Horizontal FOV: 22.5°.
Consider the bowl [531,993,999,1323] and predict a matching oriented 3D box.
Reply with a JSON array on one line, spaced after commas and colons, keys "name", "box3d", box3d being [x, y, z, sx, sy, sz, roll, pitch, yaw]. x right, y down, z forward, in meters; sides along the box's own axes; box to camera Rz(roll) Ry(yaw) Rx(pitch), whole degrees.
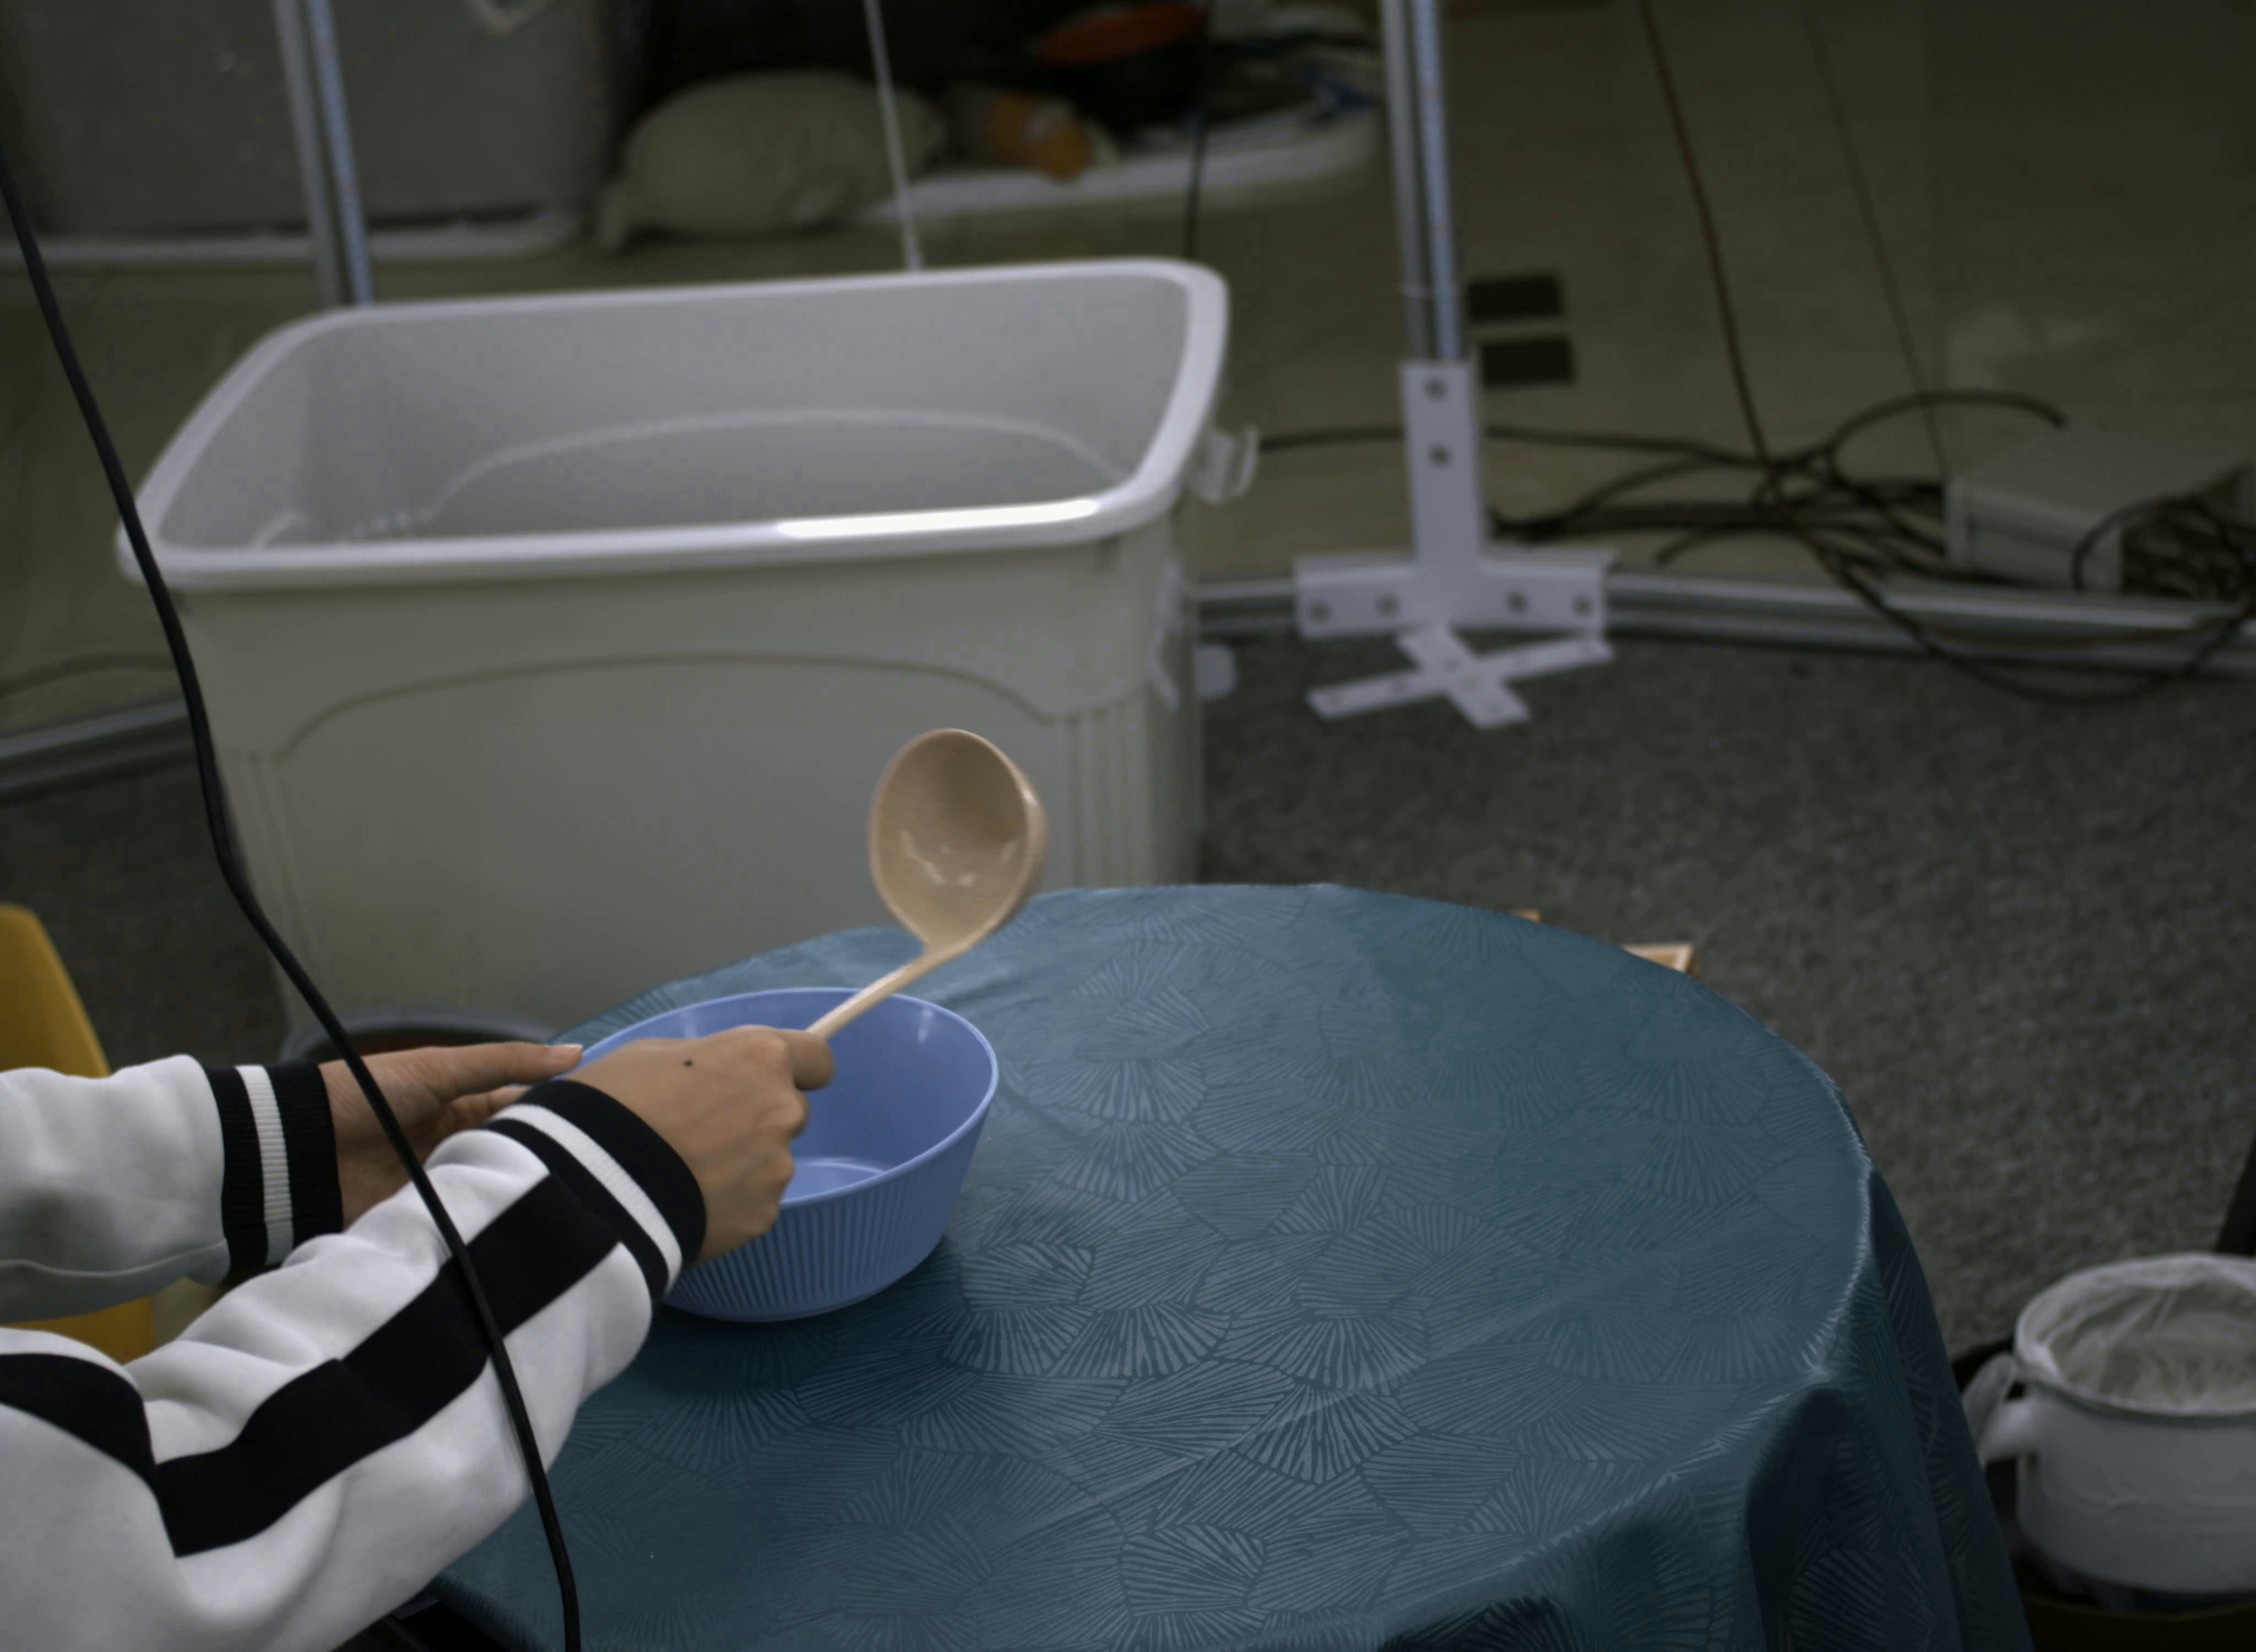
[{"name": "bowl", "box3d": [-0.131, 0.130, 2.117, 0.176, 0.071, 0.173, -6, 24, 3]}]

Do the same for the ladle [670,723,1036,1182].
[{"name": "ladle", "box3d": [-0.107, 0.037, 1.935, 0.072, 0.073, 0.251, -15, 14, 30]}]
